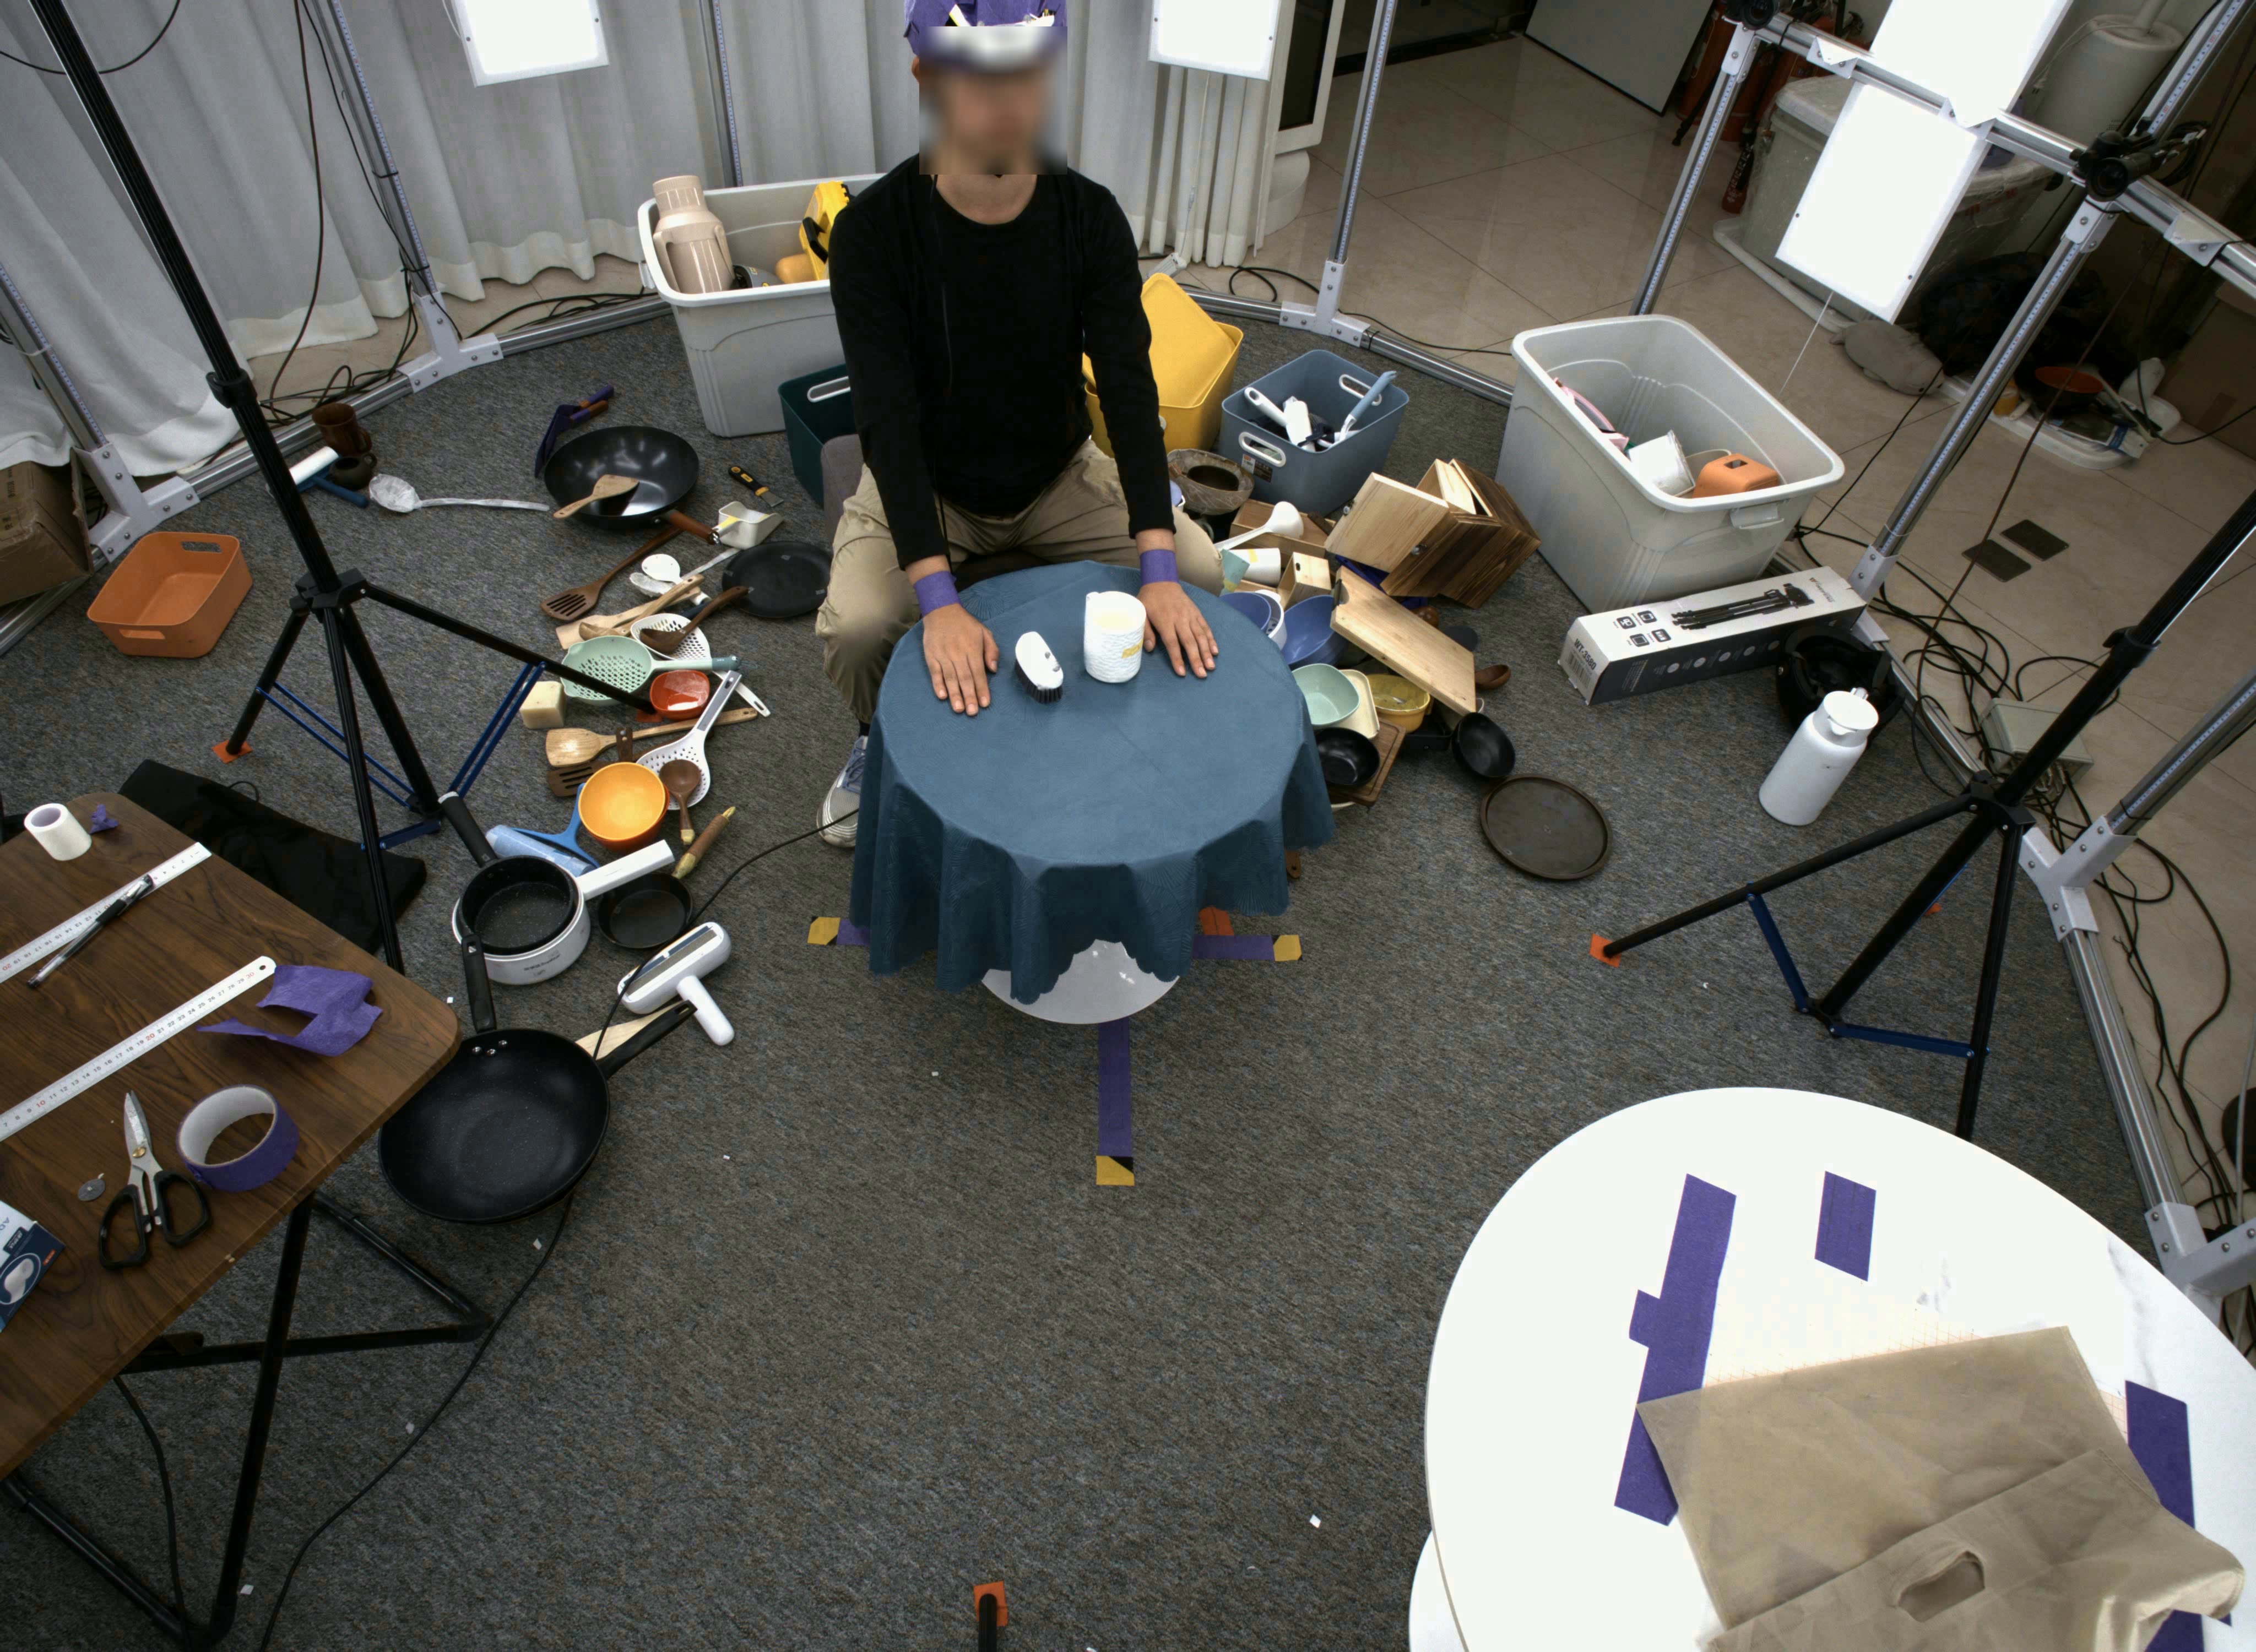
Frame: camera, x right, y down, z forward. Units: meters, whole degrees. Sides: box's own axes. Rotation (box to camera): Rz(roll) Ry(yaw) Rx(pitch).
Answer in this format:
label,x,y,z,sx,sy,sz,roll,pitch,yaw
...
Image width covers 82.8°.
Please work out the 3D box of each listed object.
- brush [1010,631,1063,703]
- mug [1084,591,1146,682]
label,x,y,z,sx,sy,sz,roll,pitch,yaw
brush,-0.128,-0.232,1.811,0.050,0.071,0.101,-22,58,-27
mug,-0.028,-0.280,1.840,0.085,0.099,0.121,-21,54,-20
